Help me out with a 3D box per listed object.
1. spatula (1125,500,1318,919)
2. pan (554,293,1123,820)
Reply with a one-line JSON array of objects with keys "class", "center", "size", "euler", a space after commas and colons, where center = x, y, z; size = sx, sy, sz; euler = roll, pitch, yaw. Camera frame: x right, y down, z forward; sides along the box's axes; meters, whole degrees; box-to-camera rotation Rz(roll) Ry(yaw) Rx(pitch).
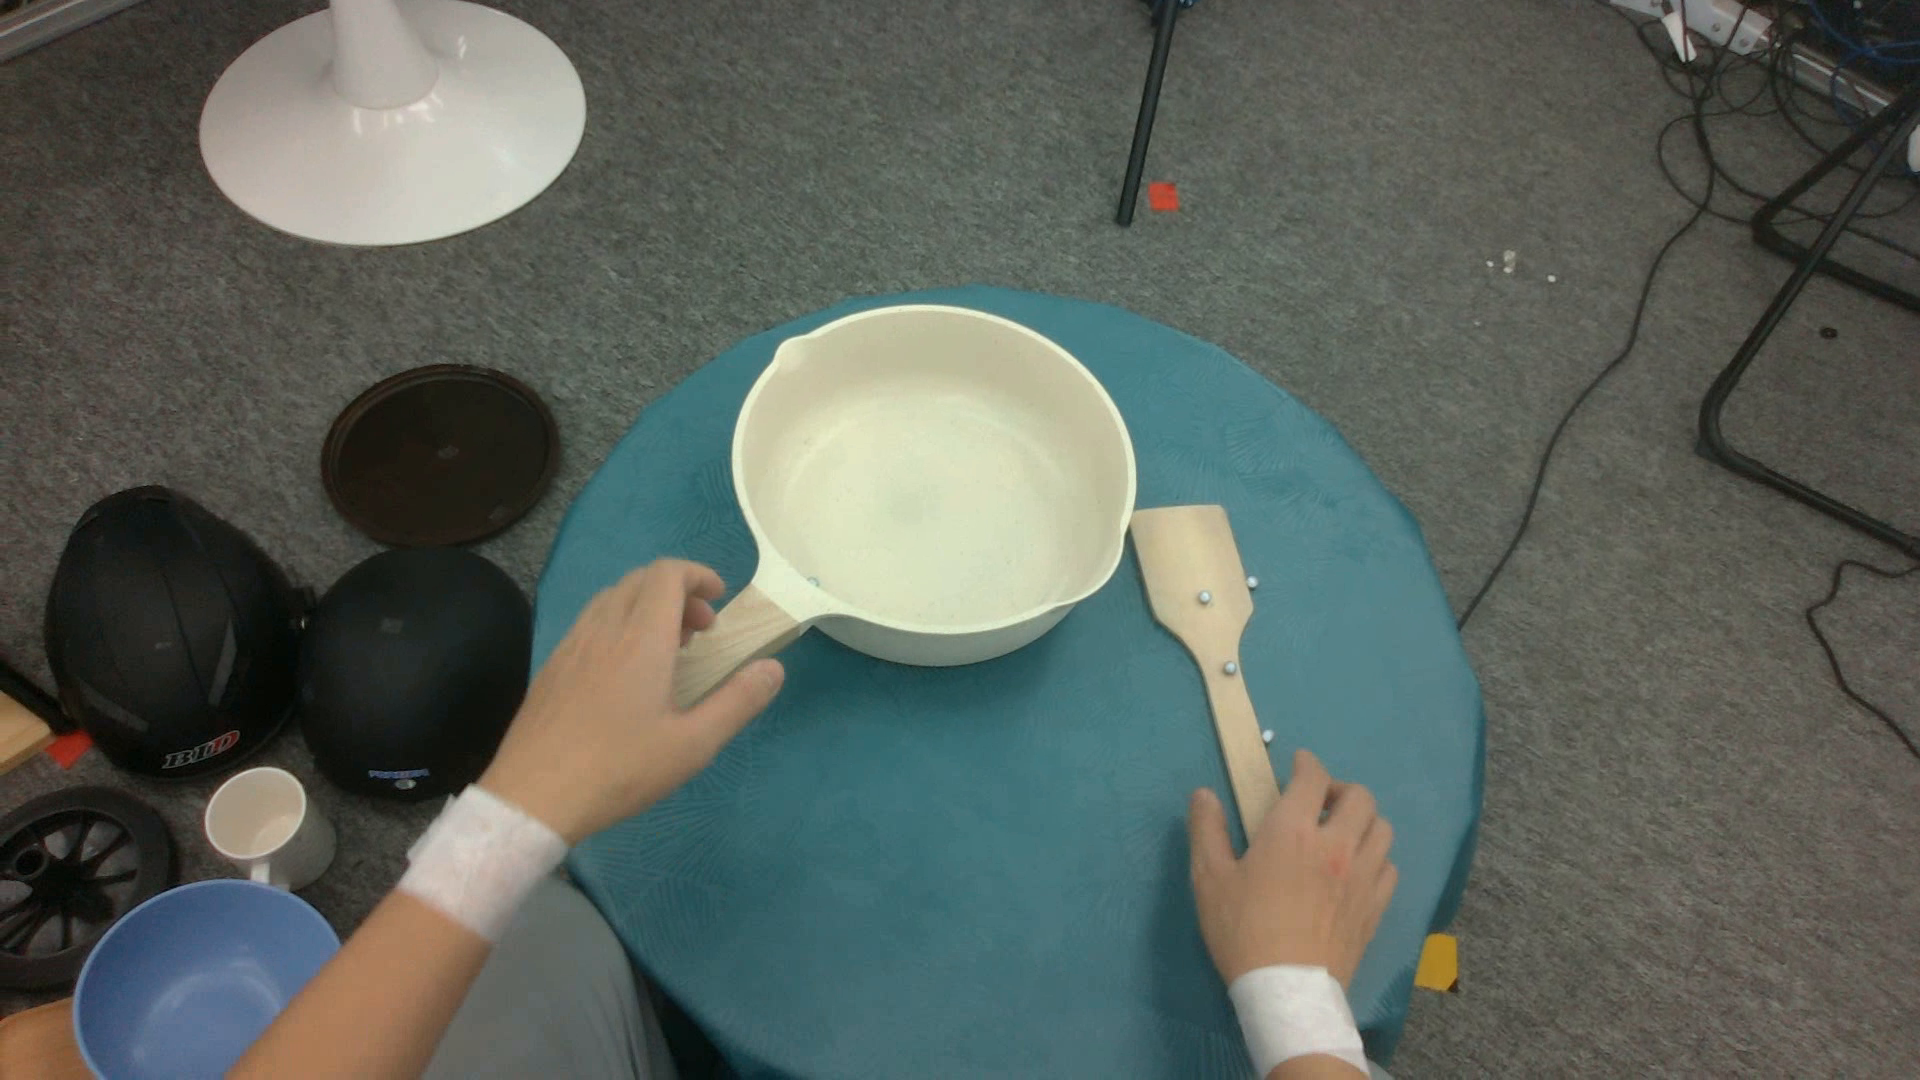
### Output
[{"class": "spatula", "center": [0.172, 0.097, 0.875], "size": [0.072, 0.010, 0.294], "euler": [-5, 58, -10]}, {"class": "pan", "center": [-0.079, 0.017, 0.848], "size": [0.263, 0.101, 0.437], "euler": [35, 61, 14]}]
